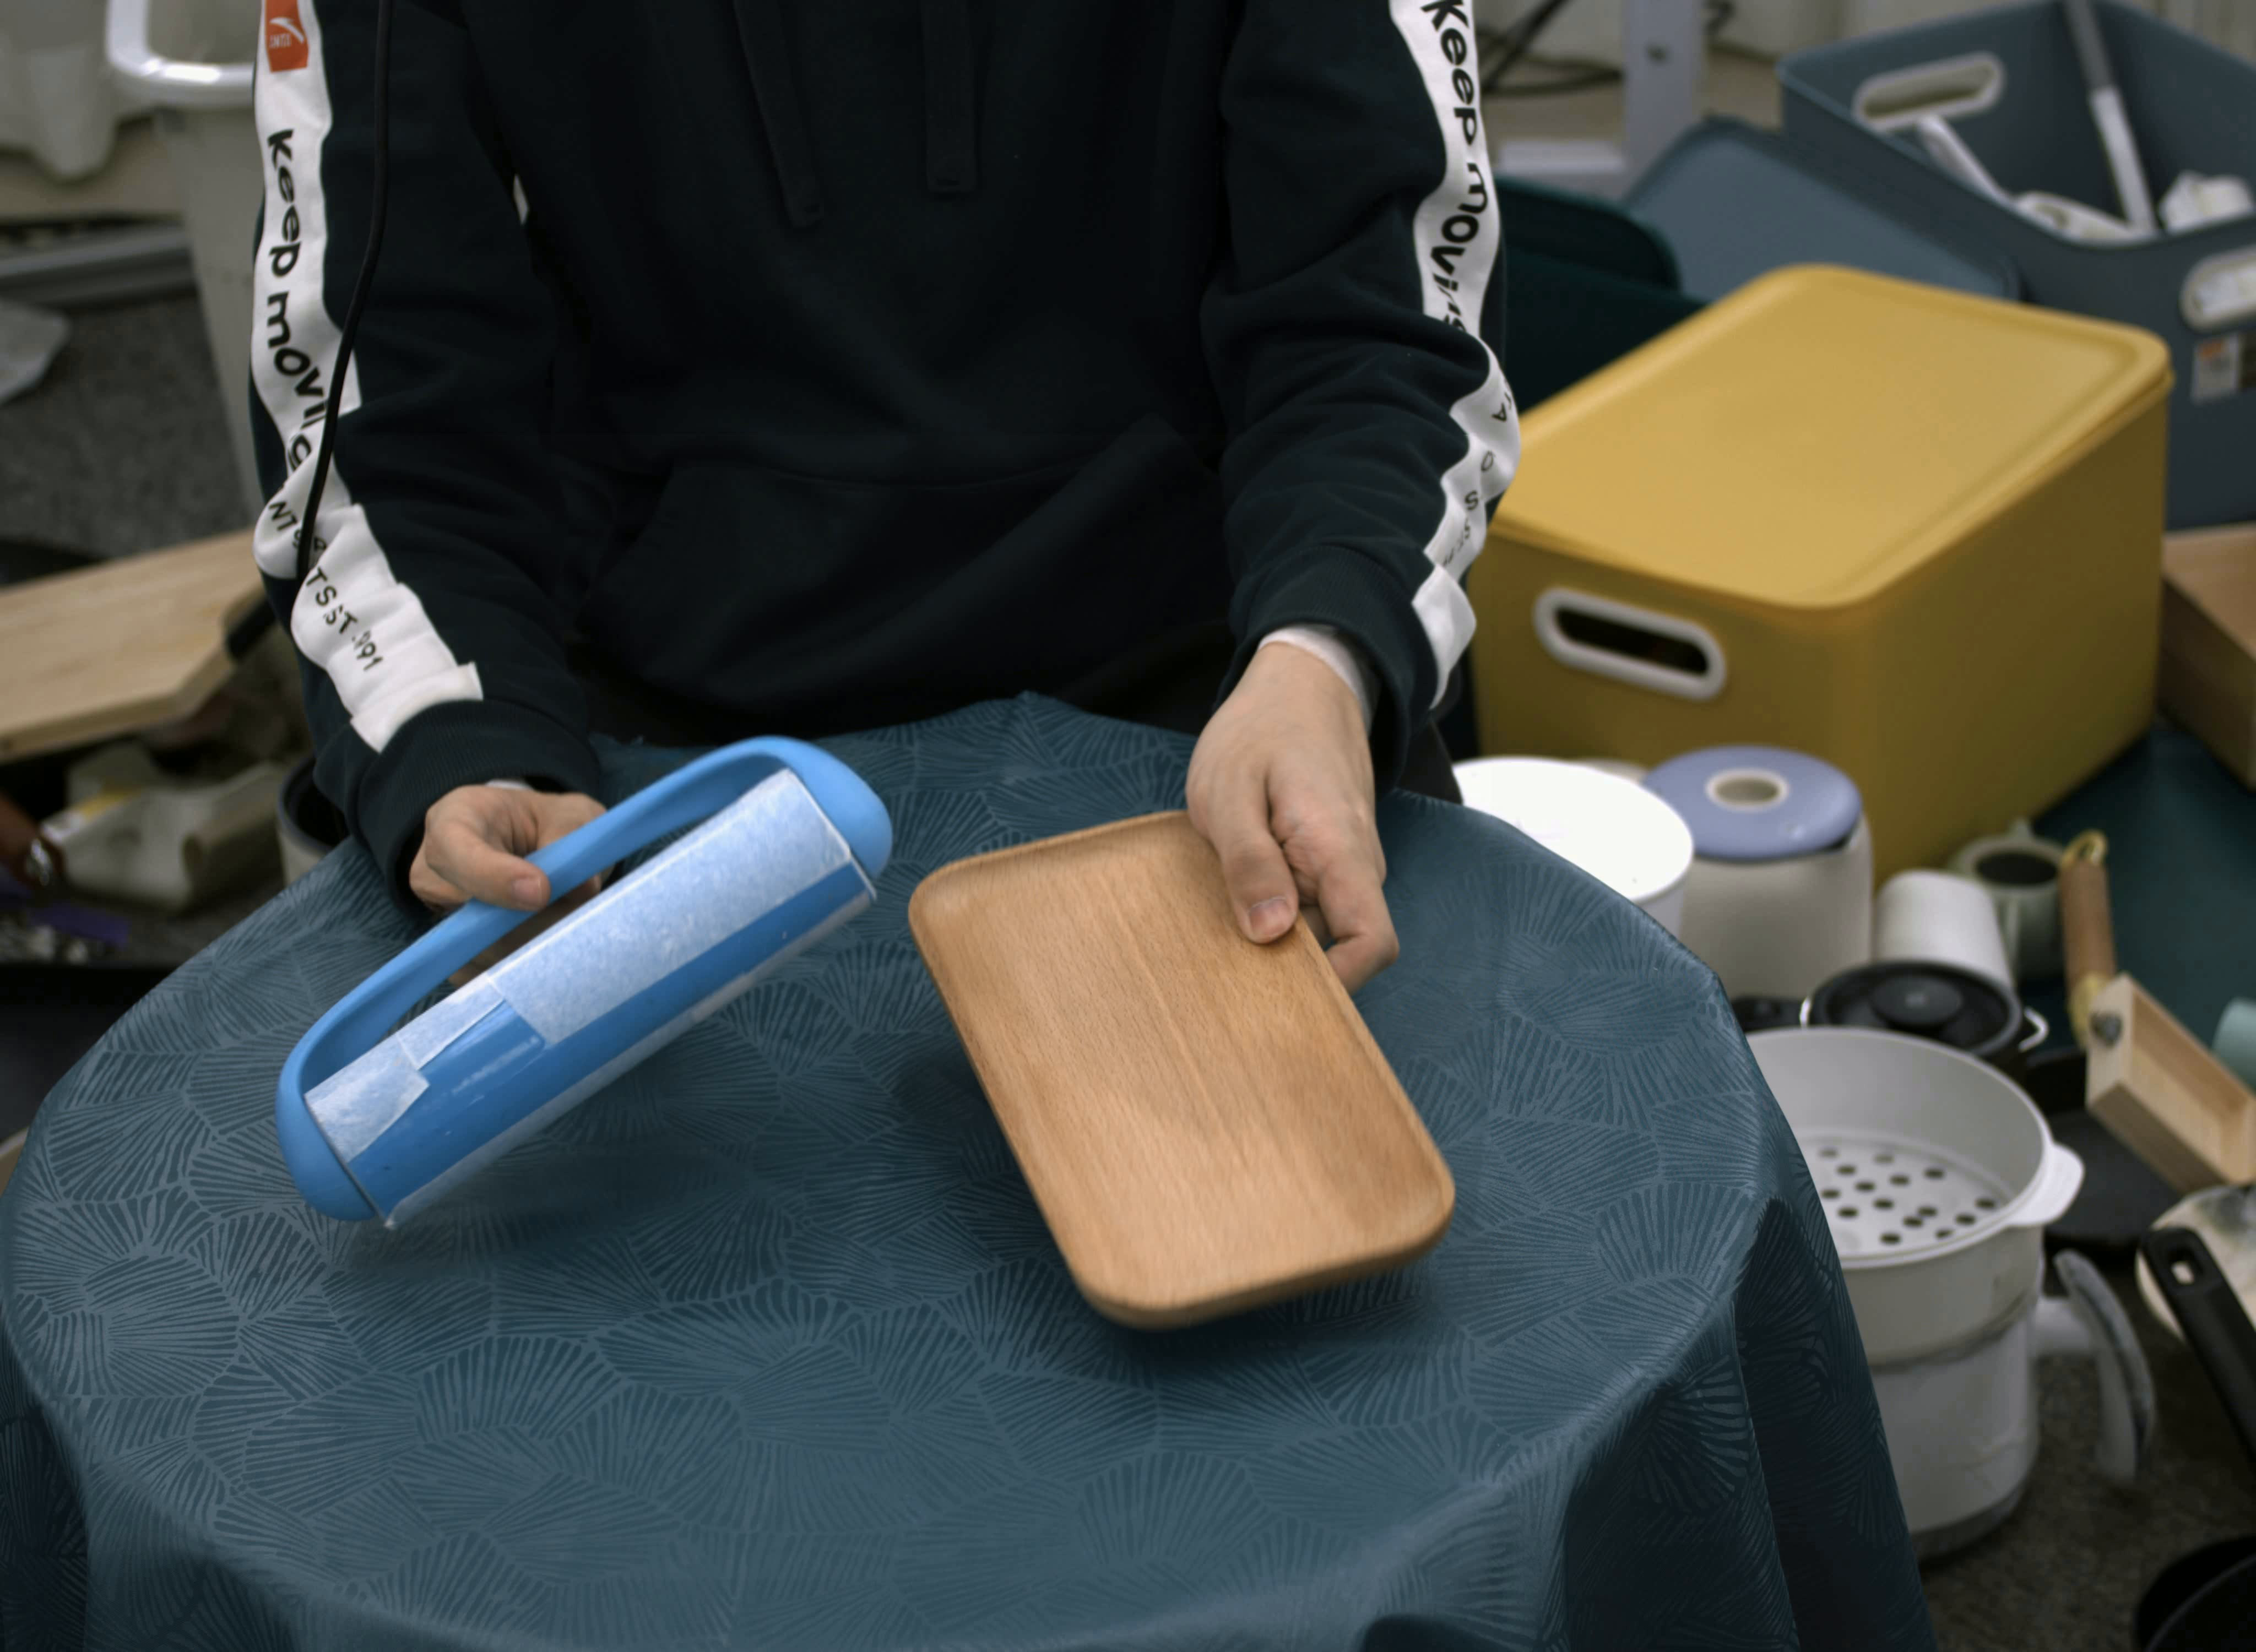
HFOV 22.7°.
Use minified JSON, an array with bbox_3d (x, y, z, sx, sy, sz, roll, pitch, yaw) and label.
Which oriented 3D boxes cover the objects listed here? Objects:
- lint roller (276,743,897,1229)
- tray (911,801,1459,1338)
[{"bbox_3d":[-0.192,0.044,1.892,0.229,0.067,0.180,-35,19,-8],"label":"lint roller"},{"bbox_3d":[0.015,0.077,1.854,0.130,0.022,0.254,-10,37,-13],"label":"tray"}]
